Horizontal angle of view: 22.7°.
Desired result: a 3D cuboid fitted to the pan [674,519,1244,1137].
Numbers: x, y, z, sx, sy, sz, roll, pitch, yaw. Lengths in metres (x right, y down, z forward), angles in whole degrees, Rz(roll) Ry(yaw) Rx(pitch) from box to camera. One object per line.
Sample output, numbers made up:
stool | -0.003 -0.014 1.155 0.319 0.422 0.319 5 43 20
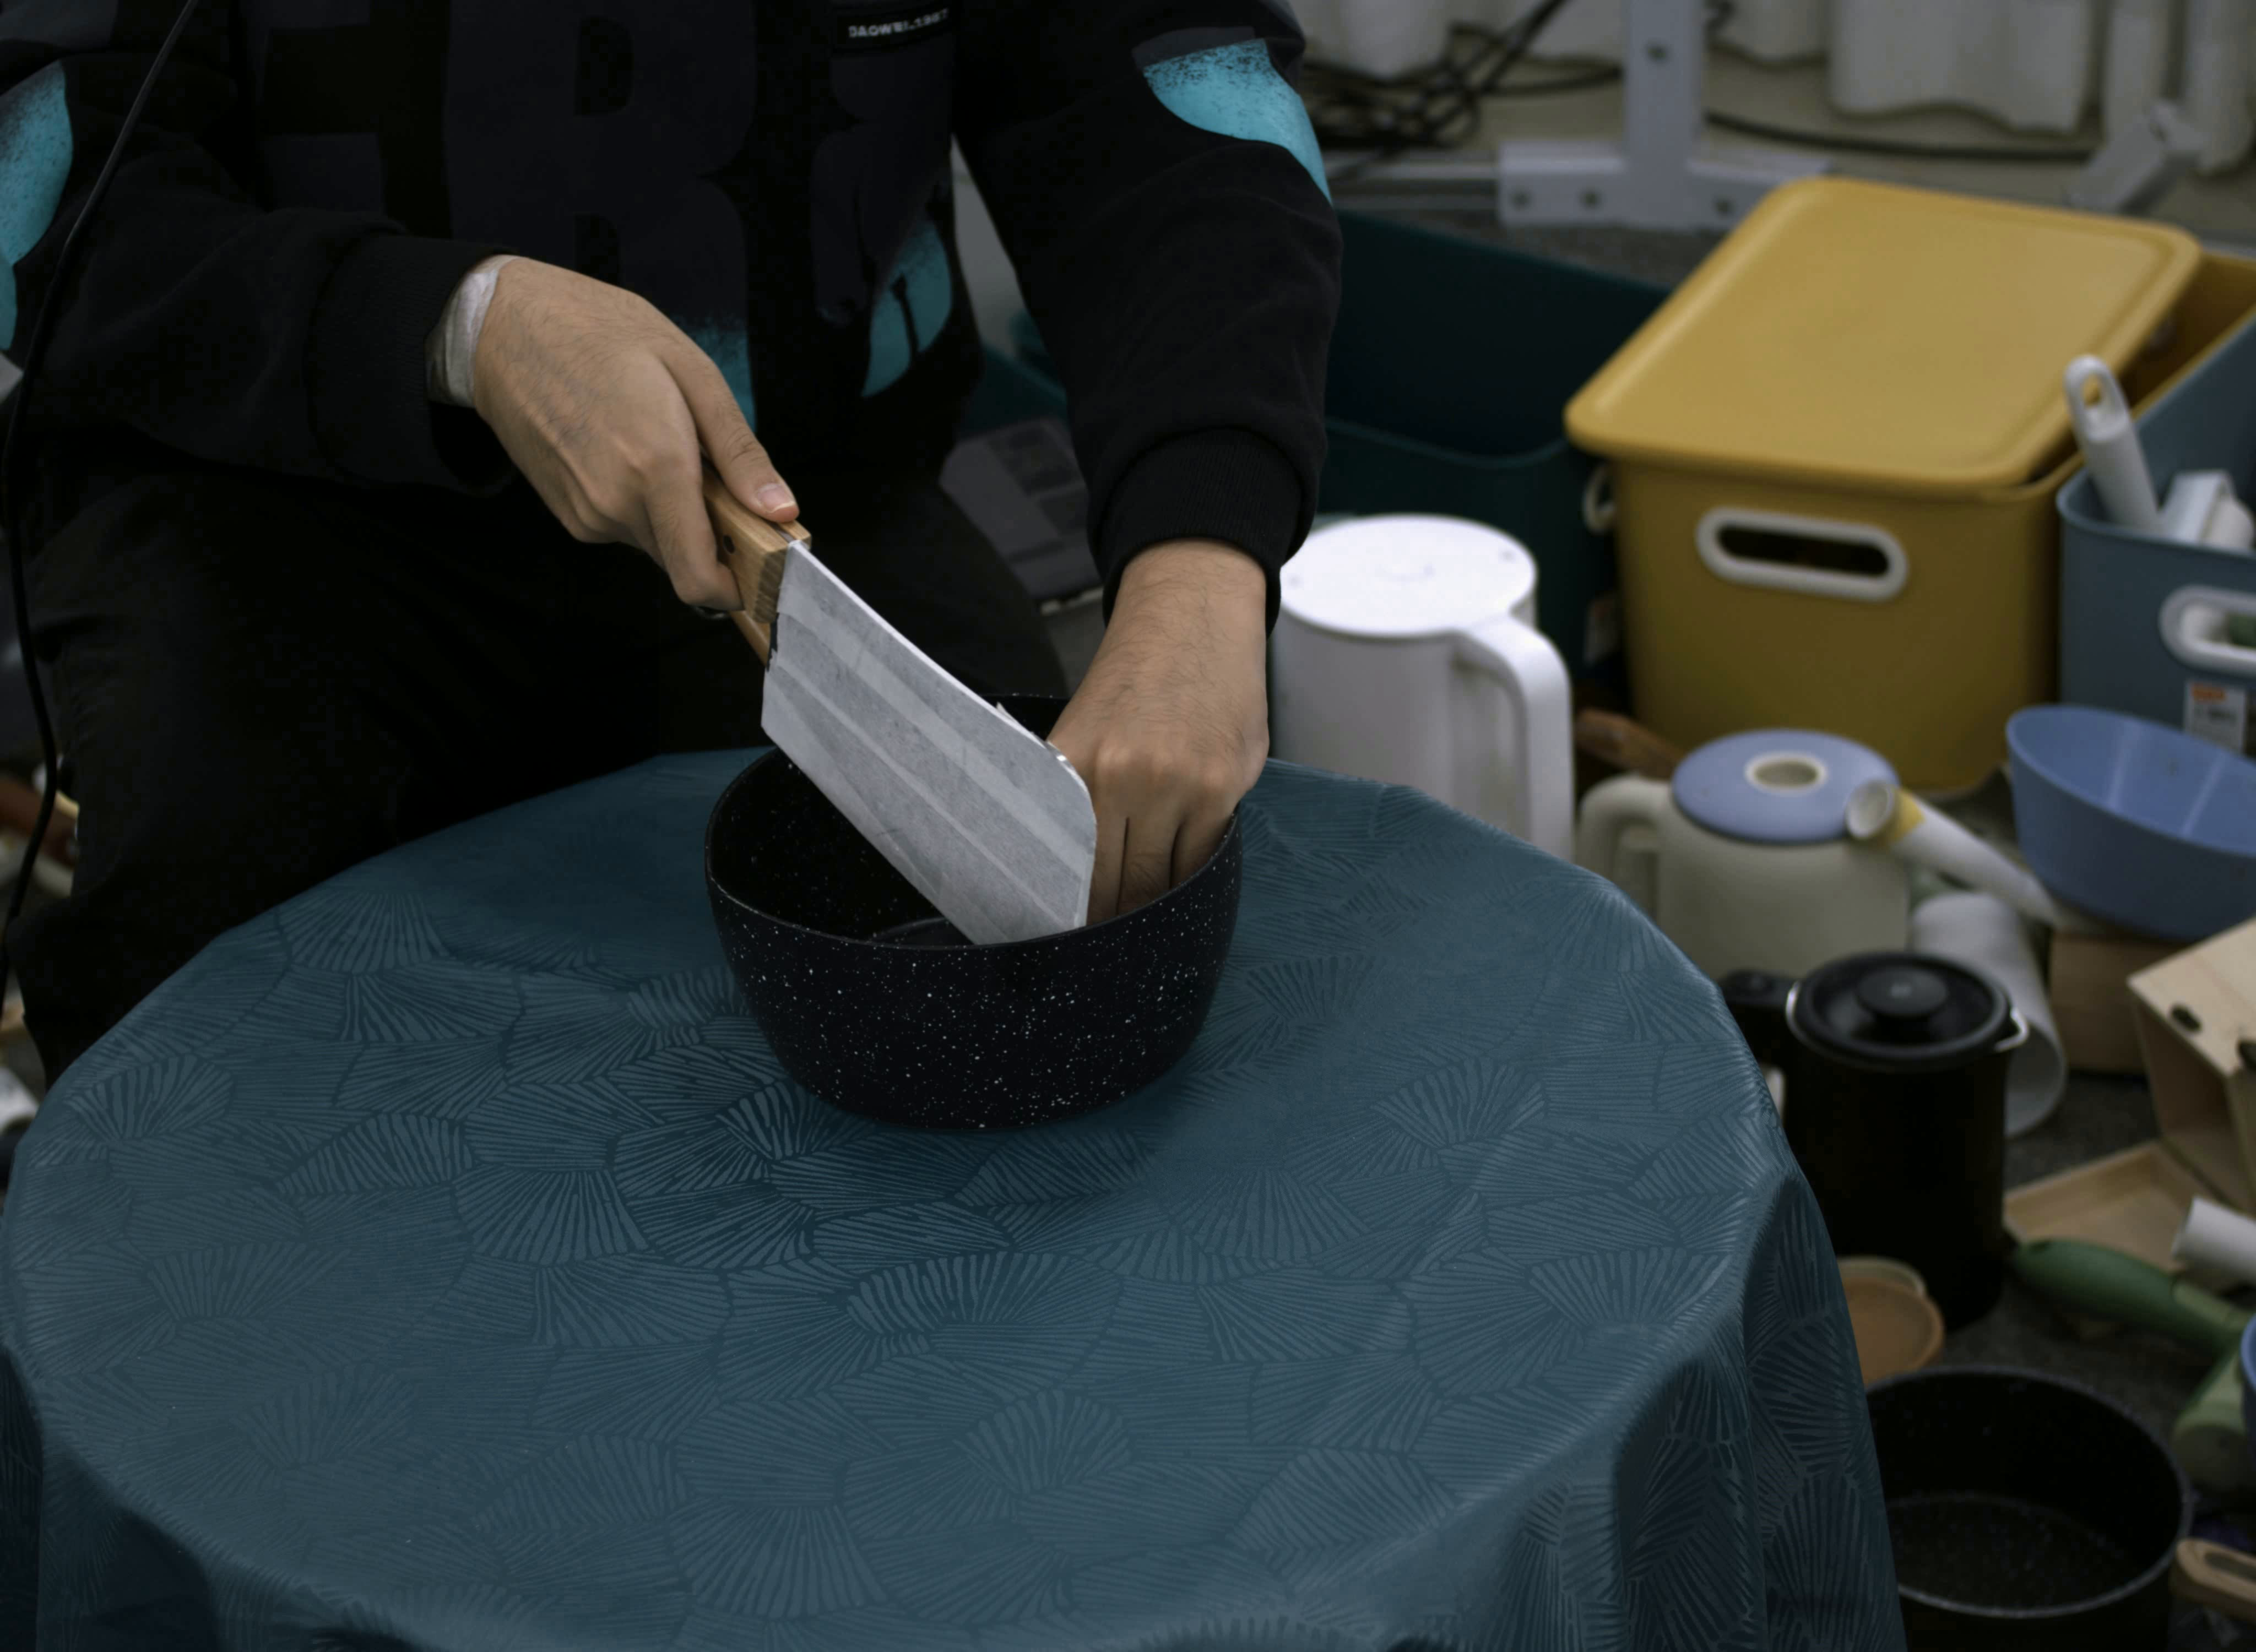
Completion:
pan | -0.087 -0.009 2.004 0.208 0.107 0.345 -17 31 -22

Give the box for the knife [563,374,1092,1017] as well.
knife | -0.103 -0.059 1.938 0.022 0.112 0.317 -18 48 -34
